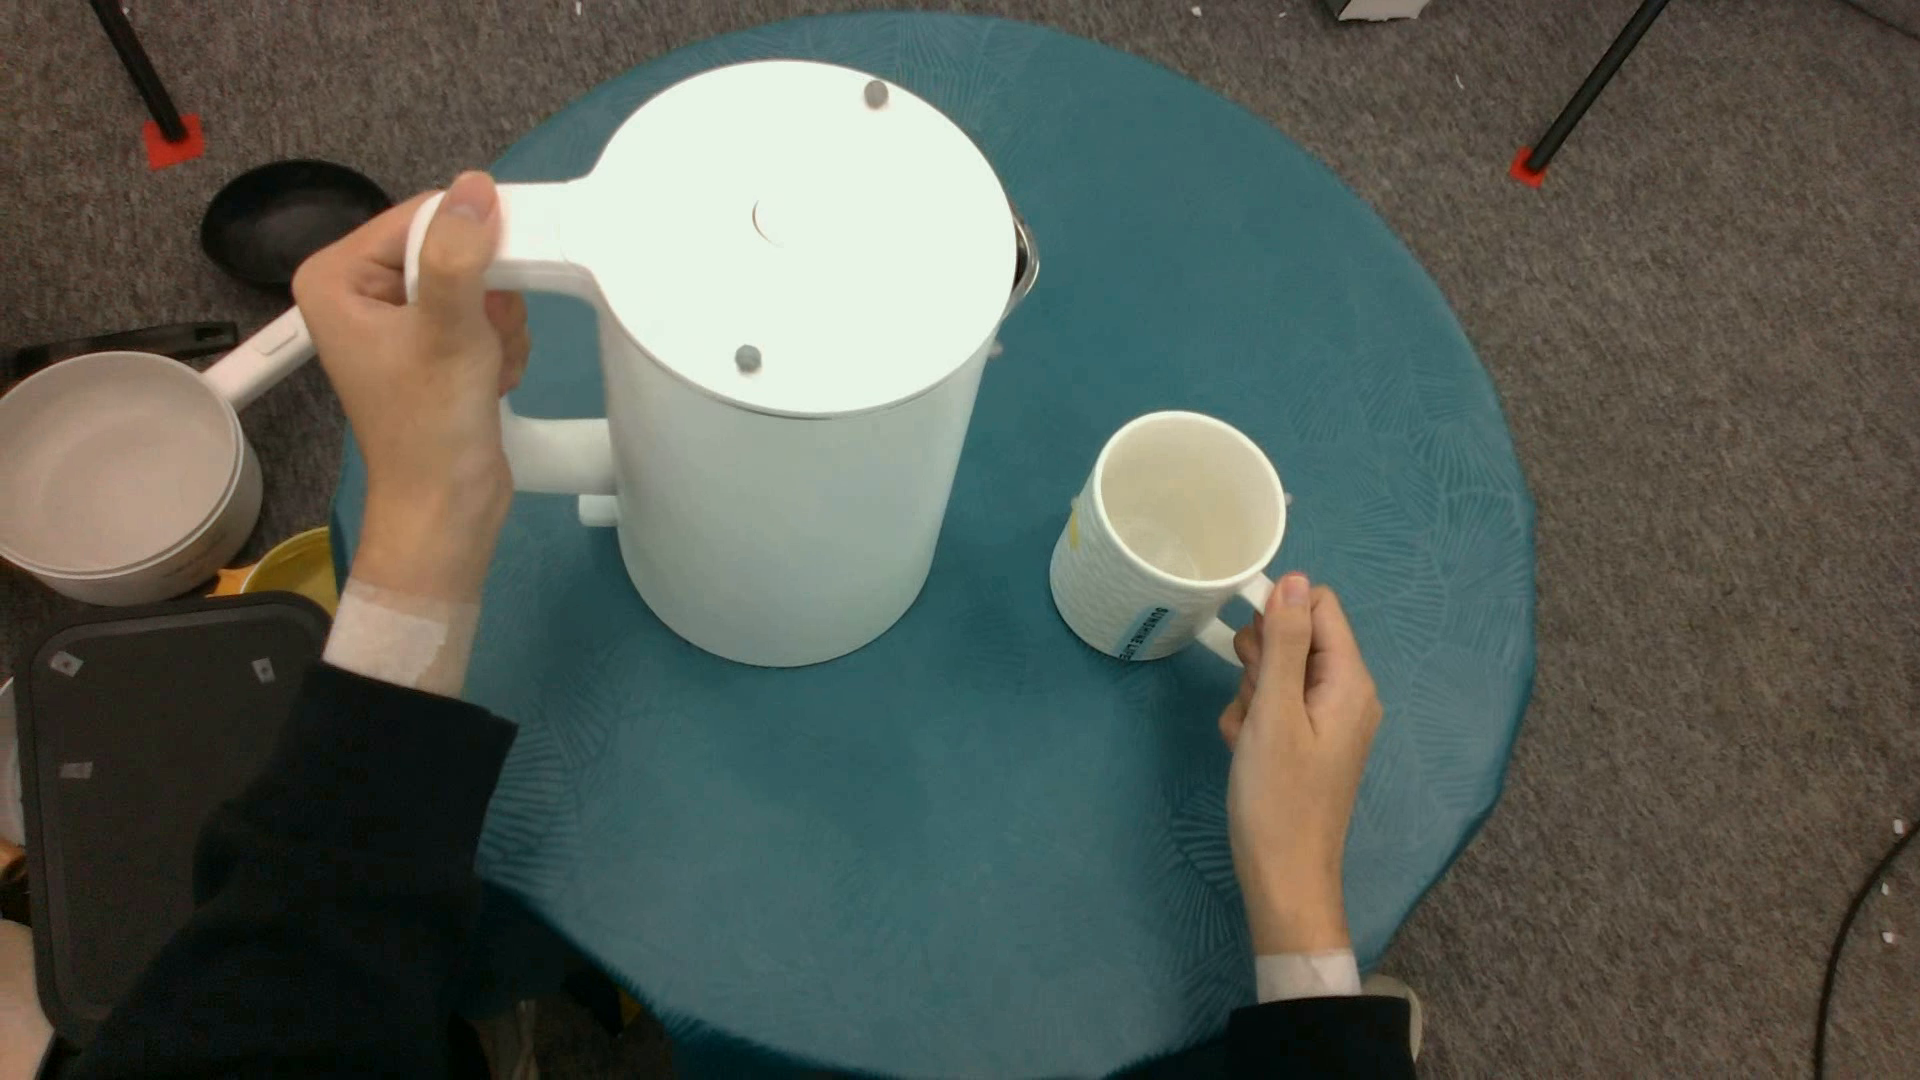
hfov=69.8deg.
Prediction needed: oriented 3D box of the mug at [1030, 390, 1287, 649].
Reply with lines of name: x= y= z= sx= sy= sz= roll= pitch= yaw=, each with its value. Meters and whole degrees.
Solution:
mug: x=0.094 y=0.003 z=0.634 sx=0.118 sy=0.101 sz=0.085 roll=43 pitch=65 yaw=10

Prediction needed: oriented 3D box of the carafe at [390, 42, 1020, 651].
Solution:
carafe: x=-0.102 y=-0.066 z=0.556 sx=0.213 sy=0.239 sz=0.152 roll=0 pitch=65 yaw=-12
